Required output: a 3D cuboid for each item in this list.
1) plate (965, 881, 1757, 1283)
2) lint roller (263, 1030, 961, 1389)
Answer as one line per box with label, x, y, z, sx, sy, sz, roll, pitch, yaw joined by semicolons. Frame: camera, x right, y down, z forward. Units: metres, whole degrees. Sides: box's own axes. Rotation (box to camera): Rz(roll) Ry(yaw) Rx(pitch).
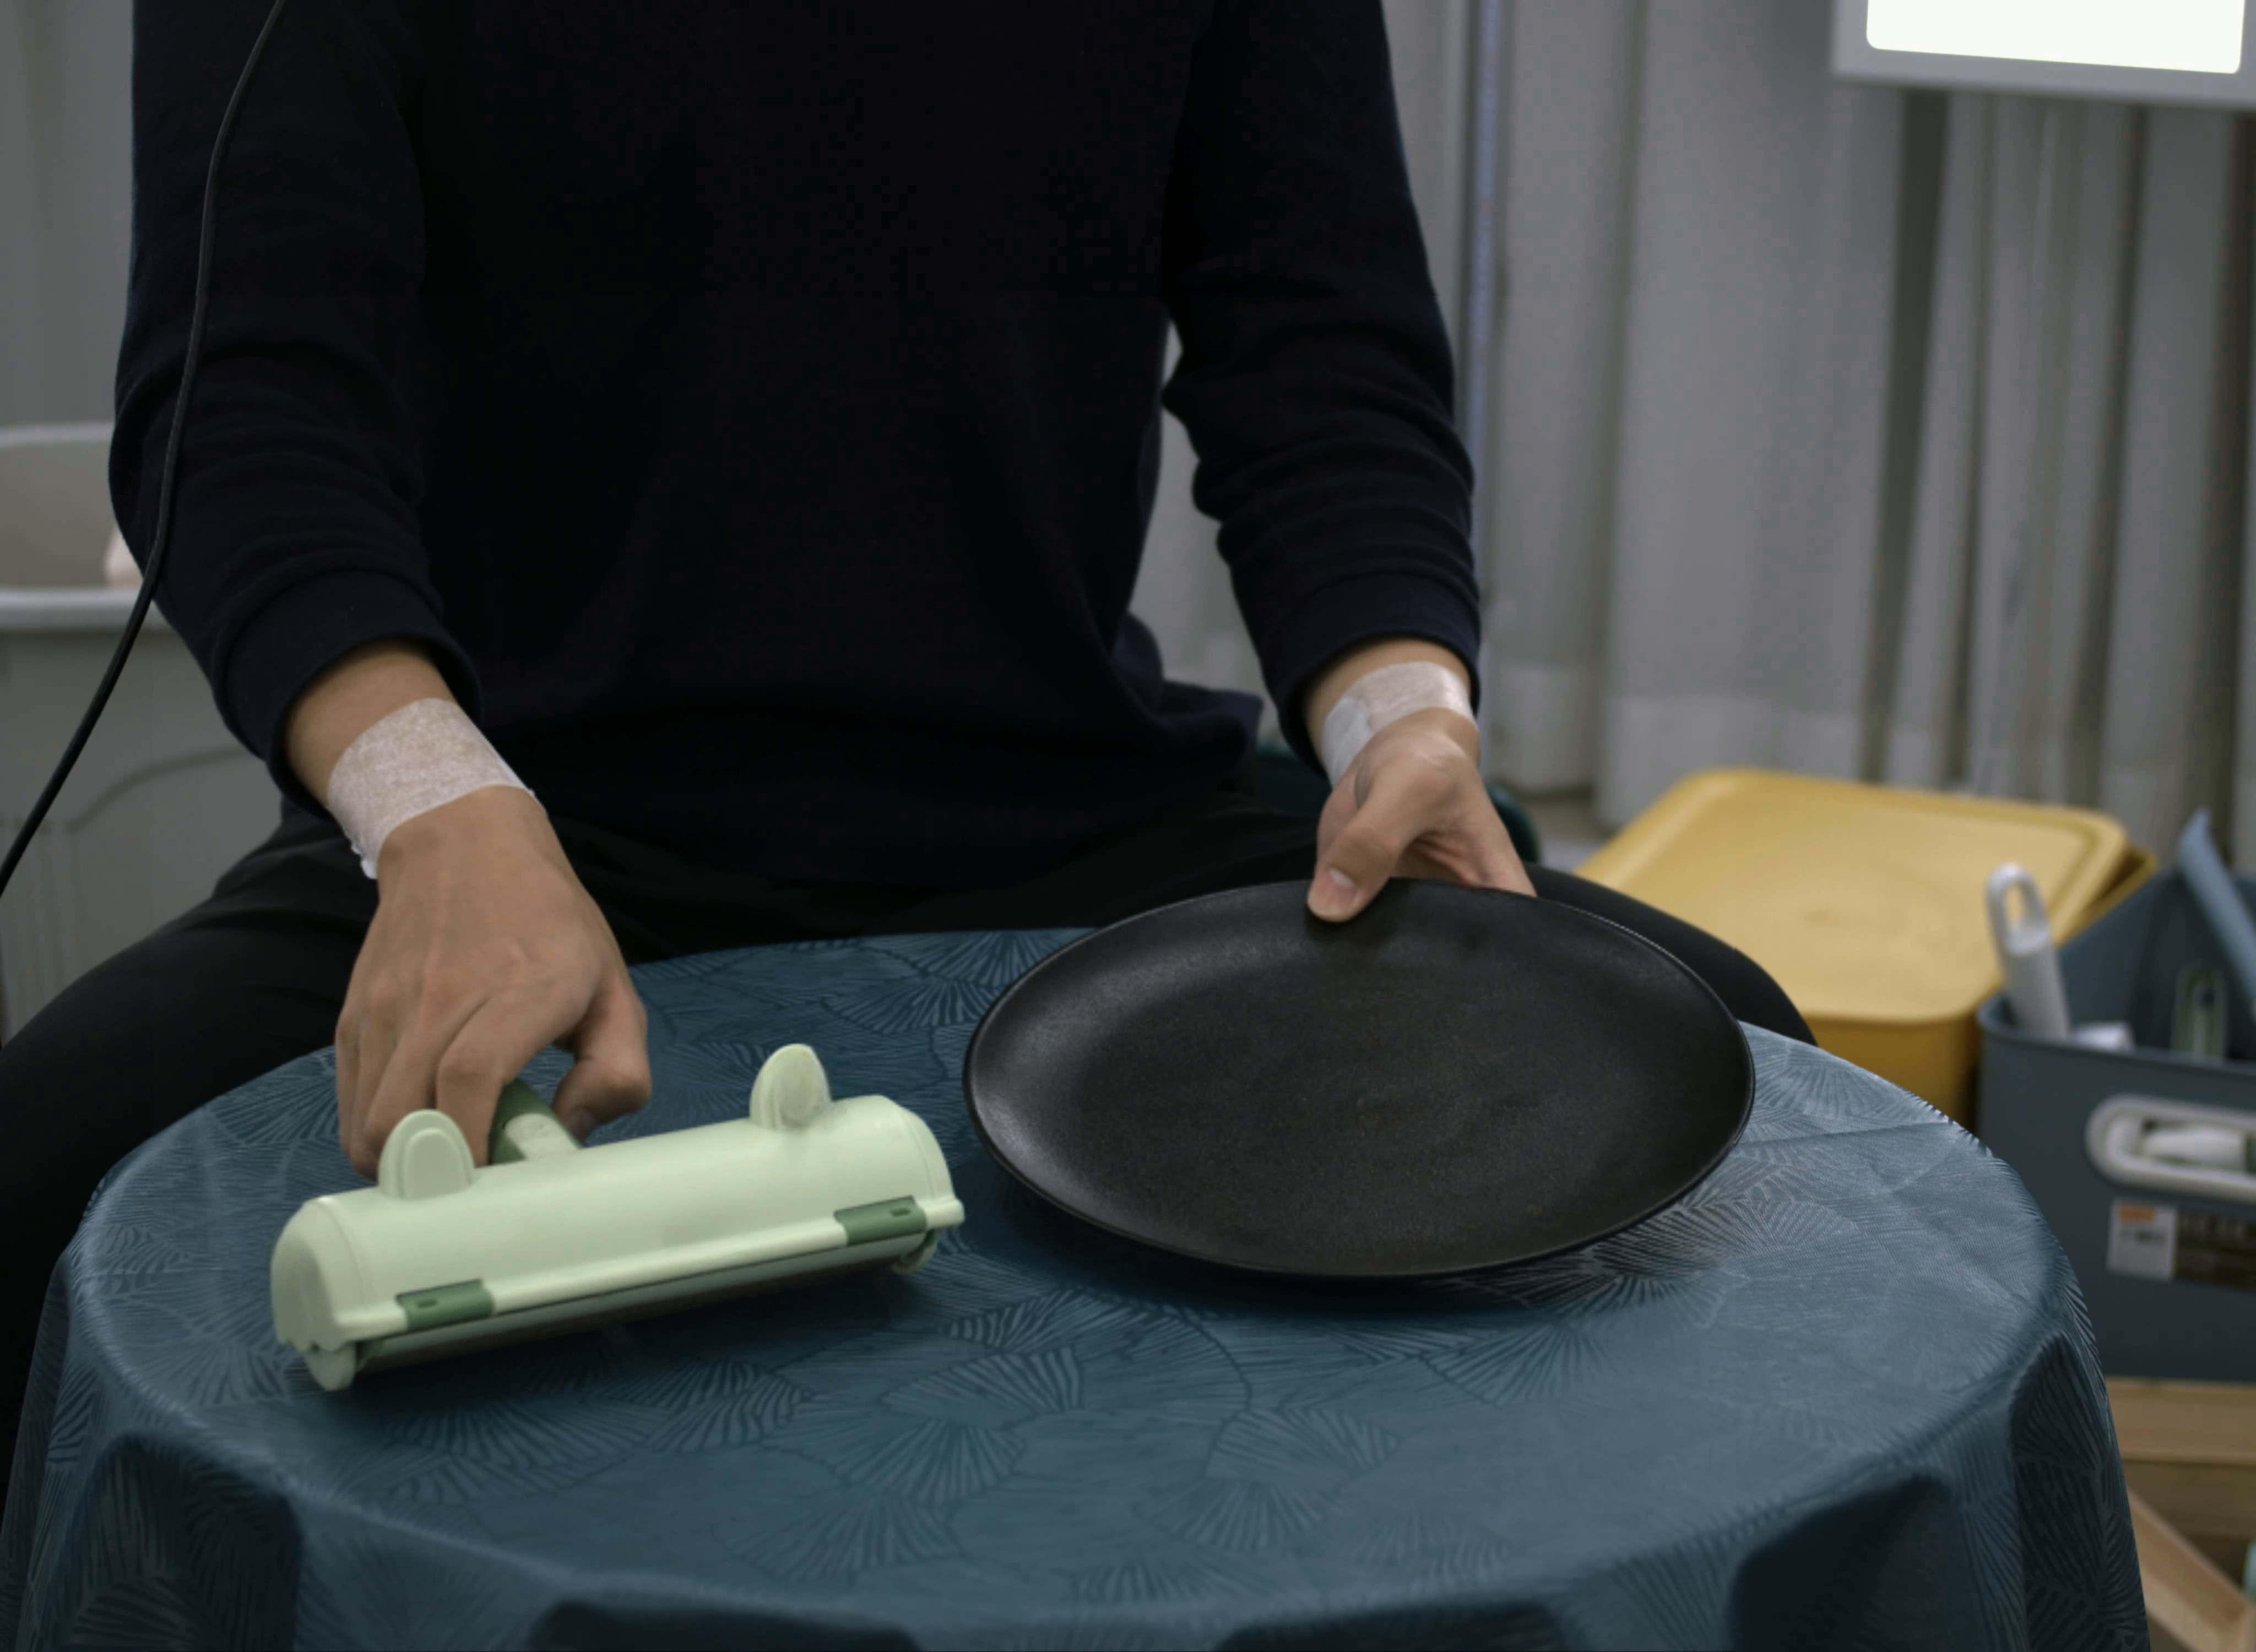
plate;0.072;0.083;1.621;0.243;0.024;0.242;-1;27;1
lint roller;-0.173;0.084;1.530;0.199;0.083;0.181;-9;33;-31
